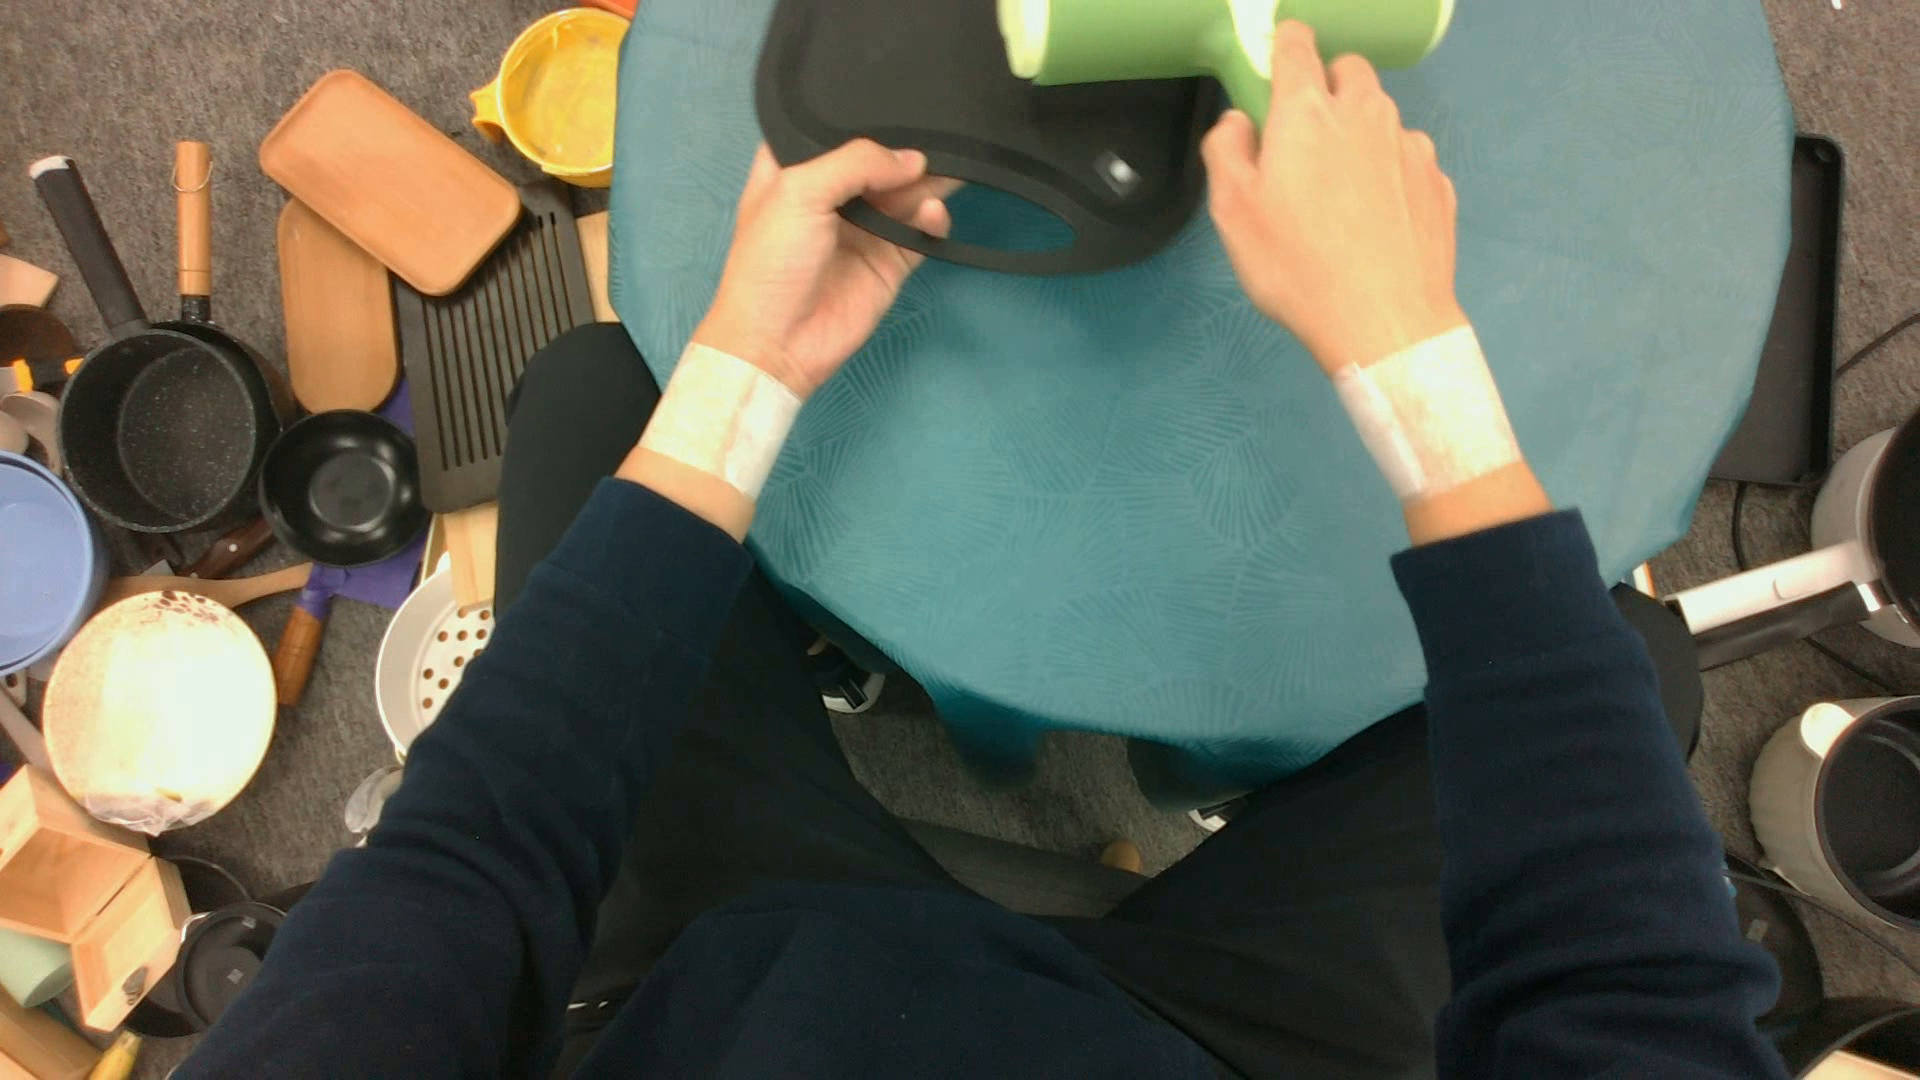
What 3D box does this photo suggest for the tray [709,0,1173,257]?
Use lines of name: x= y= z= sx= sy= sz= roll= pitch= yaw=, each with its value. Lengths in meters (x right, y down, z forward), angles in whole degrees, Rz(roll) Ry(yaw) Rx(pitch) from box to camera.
tray: x=0.002 y=-0.282 z=0.654 sx=0.211 sy=0.010 sz=0.326 roll=9 pitch=72 yaw=-9

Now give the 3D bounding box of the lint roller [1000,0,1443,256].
lint roller: x=0.130 y=-0.203 z=0.567 sx=0.199 sy=0.082 sz=0.184 roll=-7 pitch=51 yaw=-15
